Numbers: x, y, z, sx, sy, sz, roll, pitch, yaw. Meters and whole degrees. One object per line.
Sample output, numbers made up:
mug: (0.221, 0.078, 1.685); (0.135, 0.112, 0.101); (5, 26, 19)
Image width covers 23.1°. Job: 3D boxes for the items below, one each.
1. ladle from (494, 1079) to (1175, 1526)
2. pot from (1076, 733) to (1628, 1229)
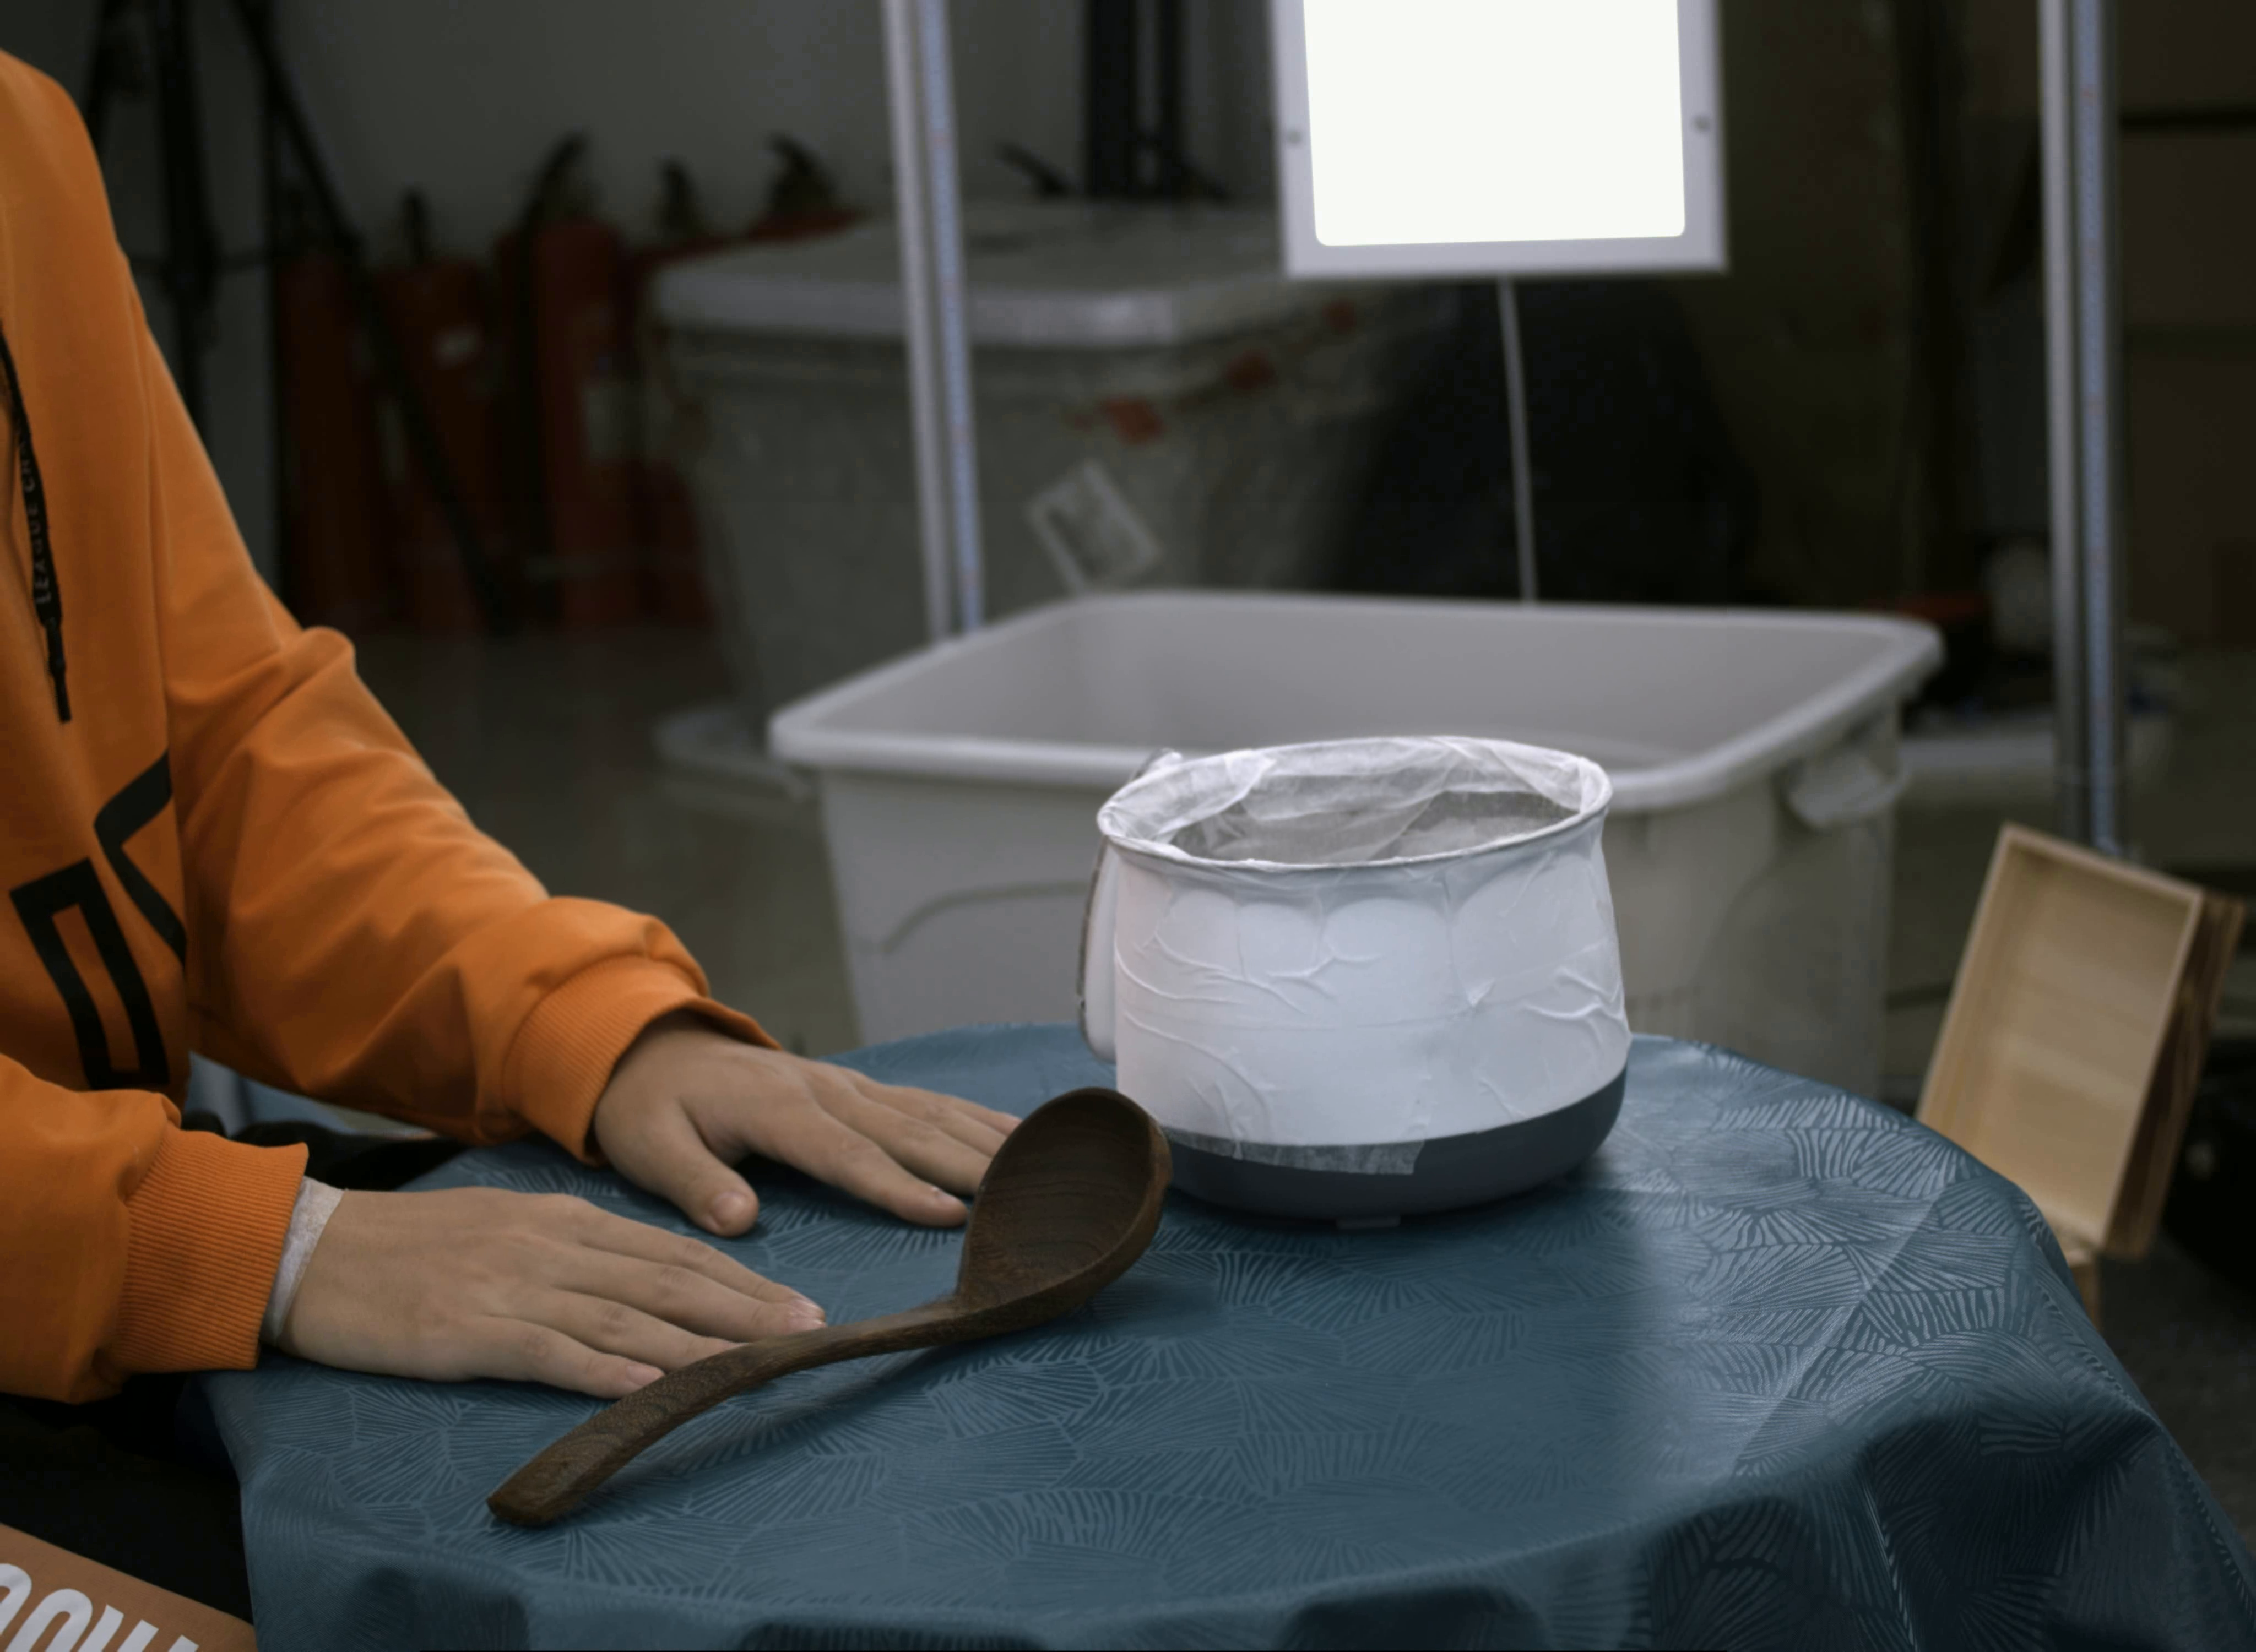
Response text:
ladle: (-0.091, 0.144, 1.715); (0.267, 0.071, 0.078); (-17, 13, -42)
pot: (0.064, 0.047, 1.905); (0.174, 0.137, 0.238); (-15, 18, -38)
